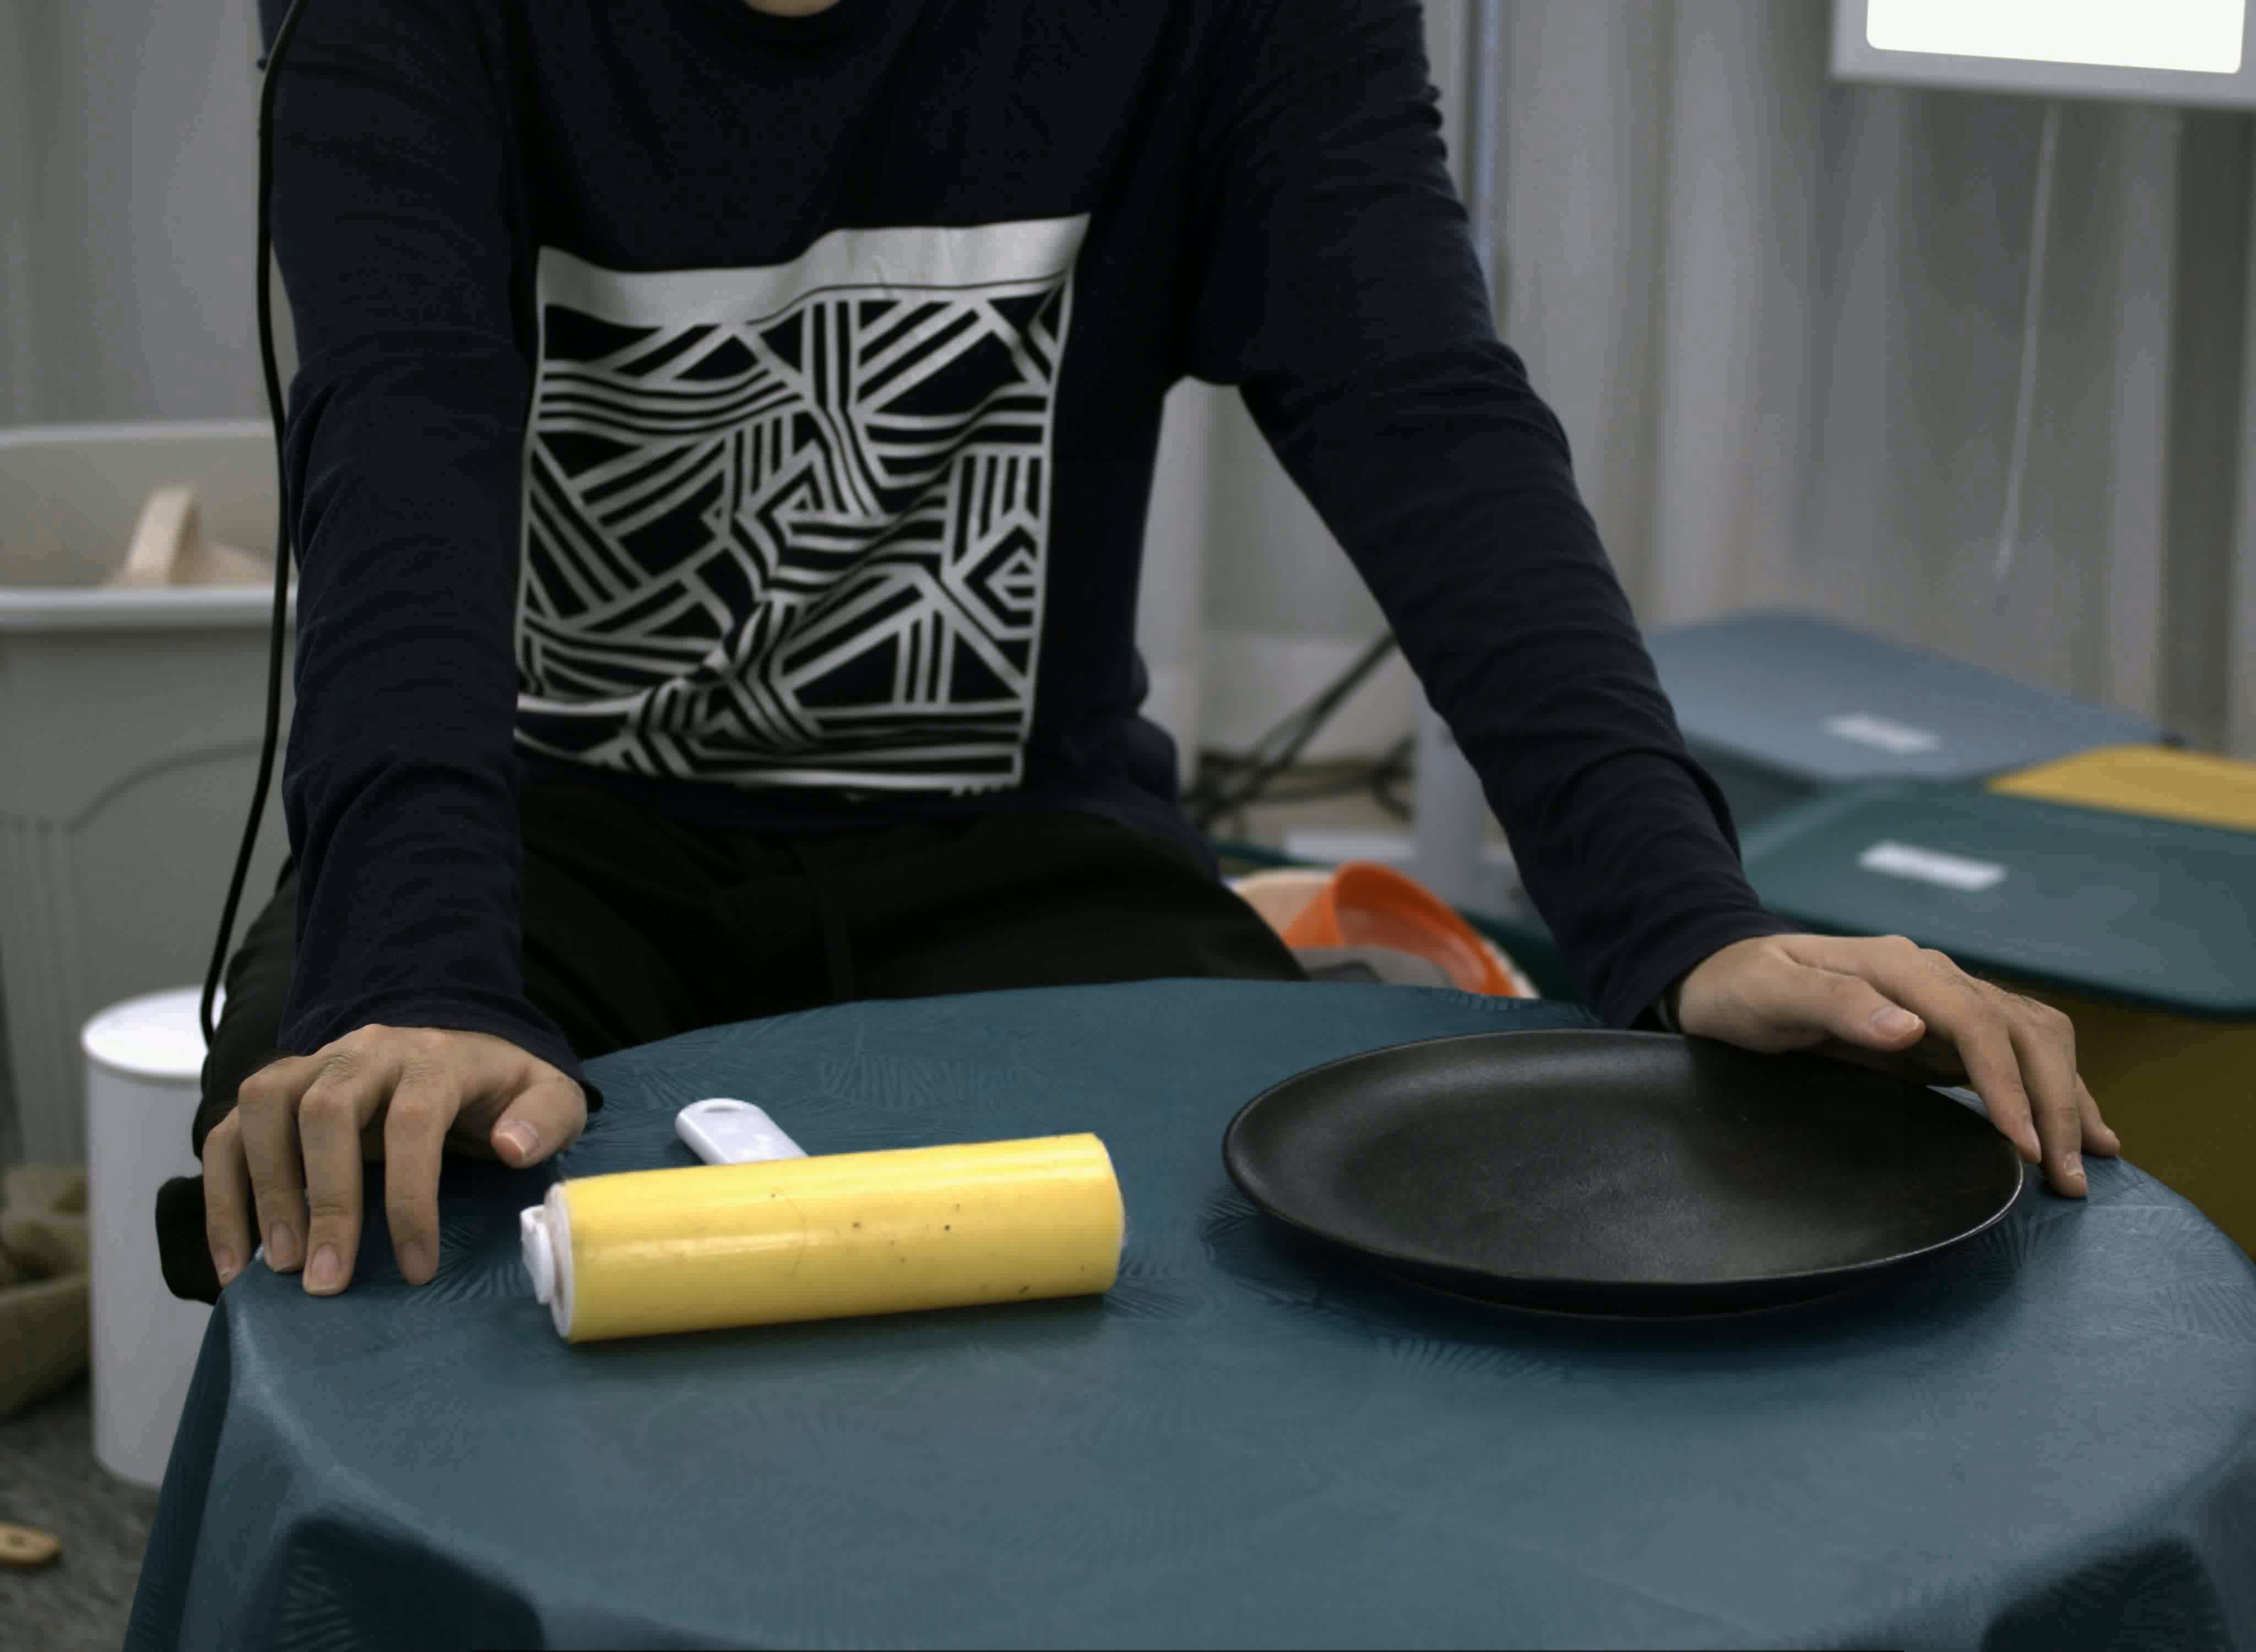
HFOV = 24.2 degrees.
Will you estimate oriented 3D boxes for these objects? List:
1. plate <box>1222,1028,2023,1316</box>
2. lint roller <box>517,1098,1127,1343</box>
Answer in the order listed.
[{"bbox_3d":[0.150,0.107,1.606,0.243,0.023,0.243,1,15,0],"label":"plate"},{"bbox_3d":[-0.107,0.100,1.577,0.174,0.052,0.190,-4,19,-18],"label":"lint roller"}]
